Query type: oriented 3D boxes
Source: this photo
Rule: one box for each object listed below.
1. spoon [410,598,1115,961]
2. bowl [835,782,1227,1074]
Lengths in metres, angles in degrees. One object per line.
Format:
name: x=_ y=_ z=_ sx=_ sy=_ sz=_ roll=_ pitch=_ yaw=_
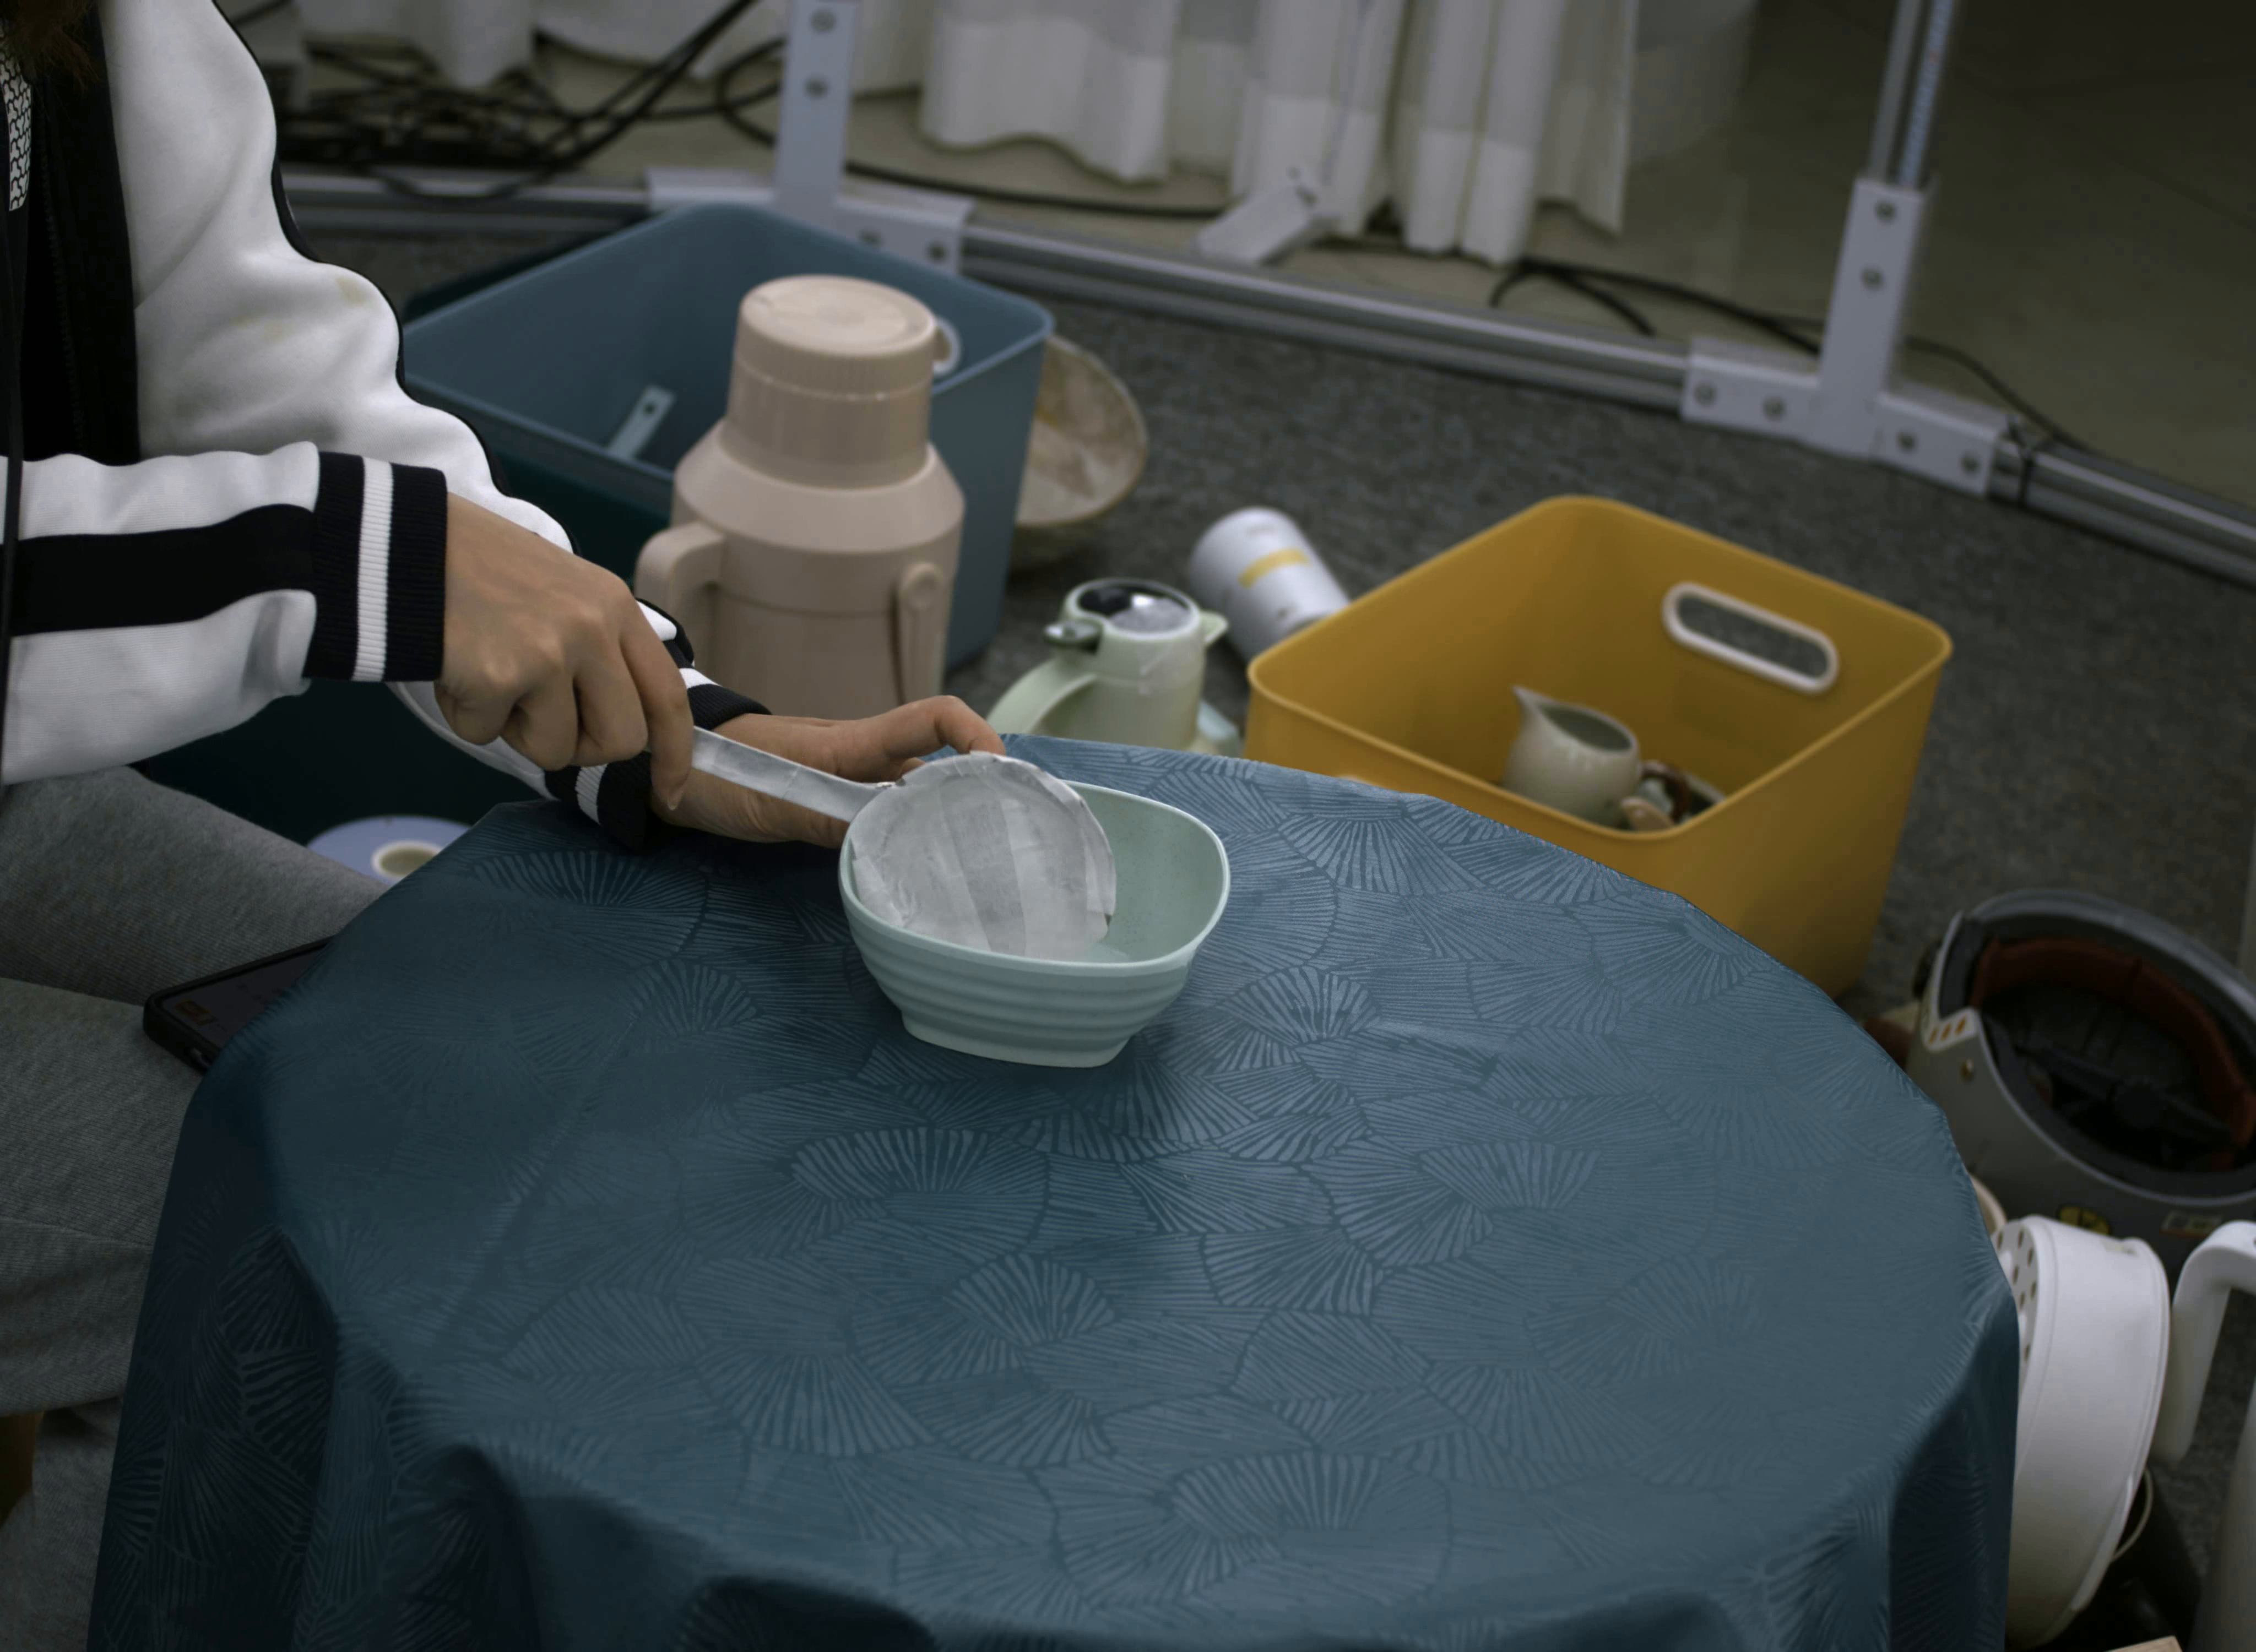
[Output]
spoon: x=-0.122 y=-0.018 z=1.822 sx=0.275 sy=0.100 sz=0.060 roll=24 pitch=17 yaw=-36
bowl: x=-0.037 y=0.041 z=1.898 sx=0.151 sy=0.058 sz=0.152 roll=5 pitch=27 yaw=-3
